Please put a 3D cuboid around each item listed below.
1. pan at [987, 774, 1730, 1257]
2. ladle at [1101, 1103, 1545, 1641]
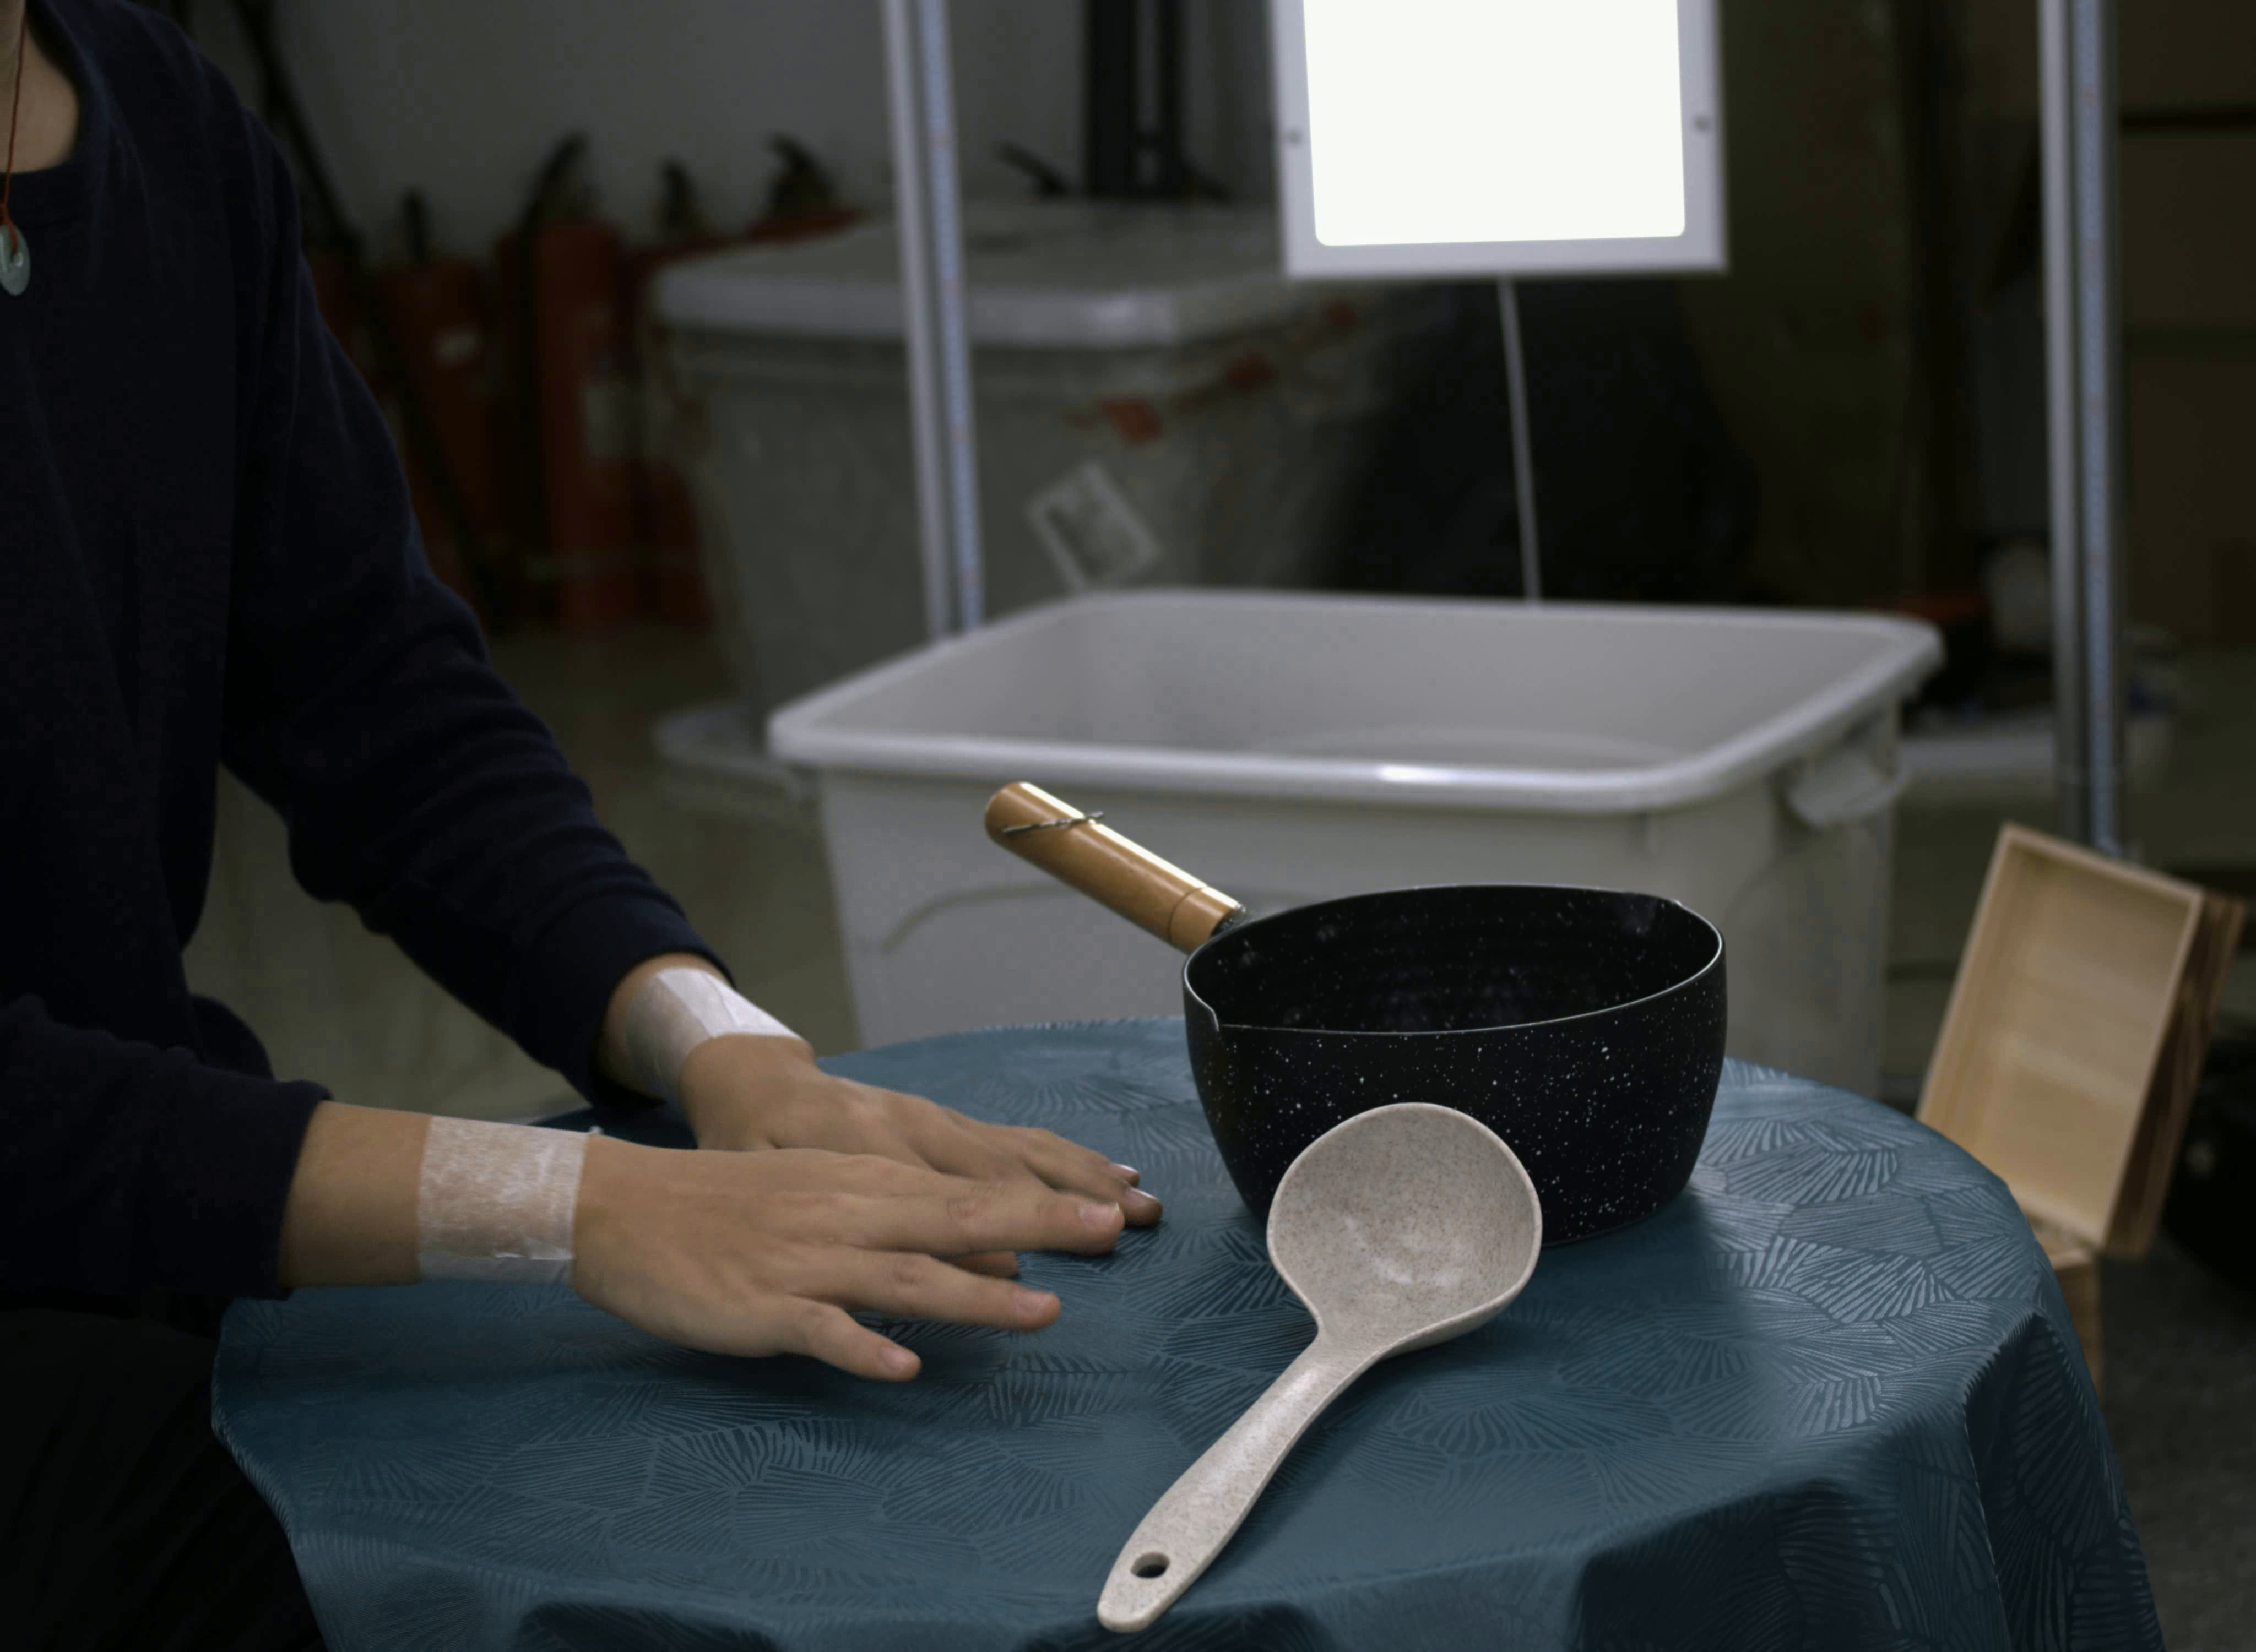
[{"bbox_3d":[0.061,0.061,1.915,0.202,0.108,0.350,-17,19,-36],"label":"pan"},{"bbox_3d":[0.050,0.155,1.626,0.090,0.070,0.270,13,20,18],"label":"ladle"}]
